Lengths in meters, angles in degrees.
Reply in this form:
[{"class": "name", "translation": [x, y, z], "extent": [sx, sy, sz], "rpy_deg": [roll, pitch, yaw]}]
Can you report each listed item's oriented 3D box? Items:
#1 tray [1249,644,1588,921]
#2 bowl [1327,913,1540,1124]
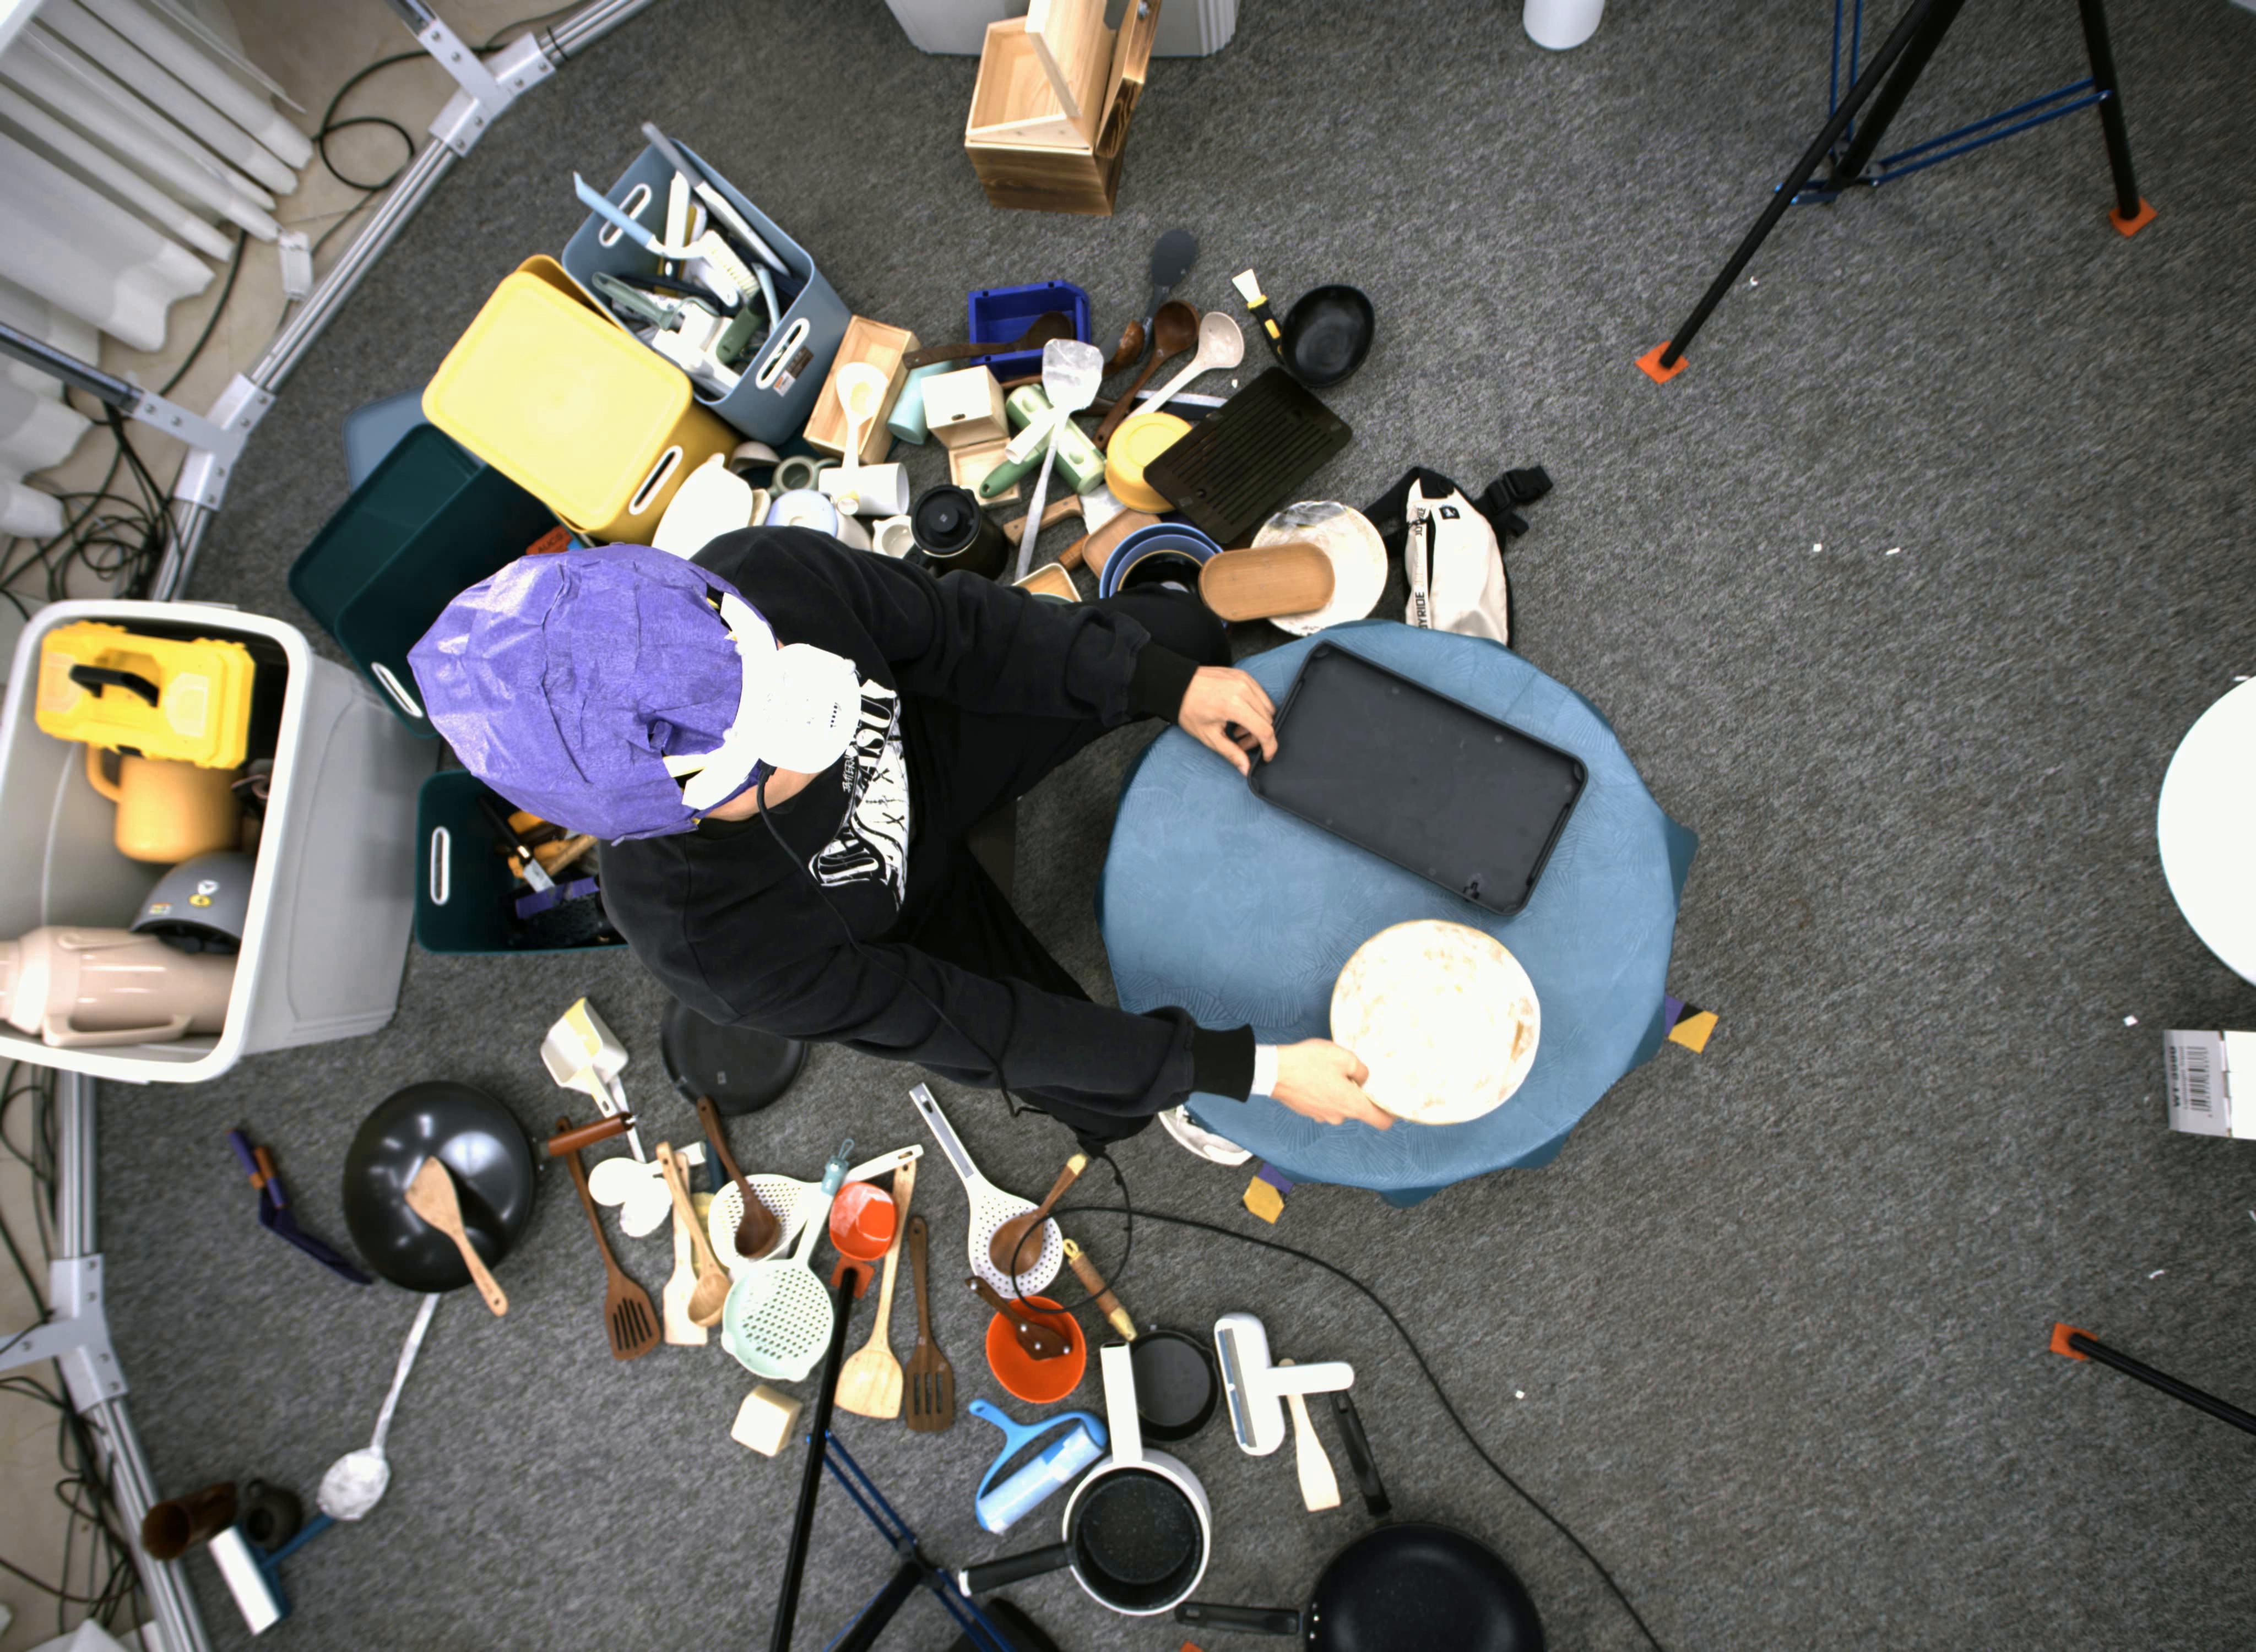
[{"class": "tray", "translation": [0.302, -0.048, 1.448], "extent": [0.317, 0.037, 0.184], "rpy_deg": [28, 91, 9]}, {"class": "bowl", "translation": [0.304, 0.193, 1.393], "extent": [0.215, 0.095, 0.212], "rpy_deg": [-2, 80, 10]}]
